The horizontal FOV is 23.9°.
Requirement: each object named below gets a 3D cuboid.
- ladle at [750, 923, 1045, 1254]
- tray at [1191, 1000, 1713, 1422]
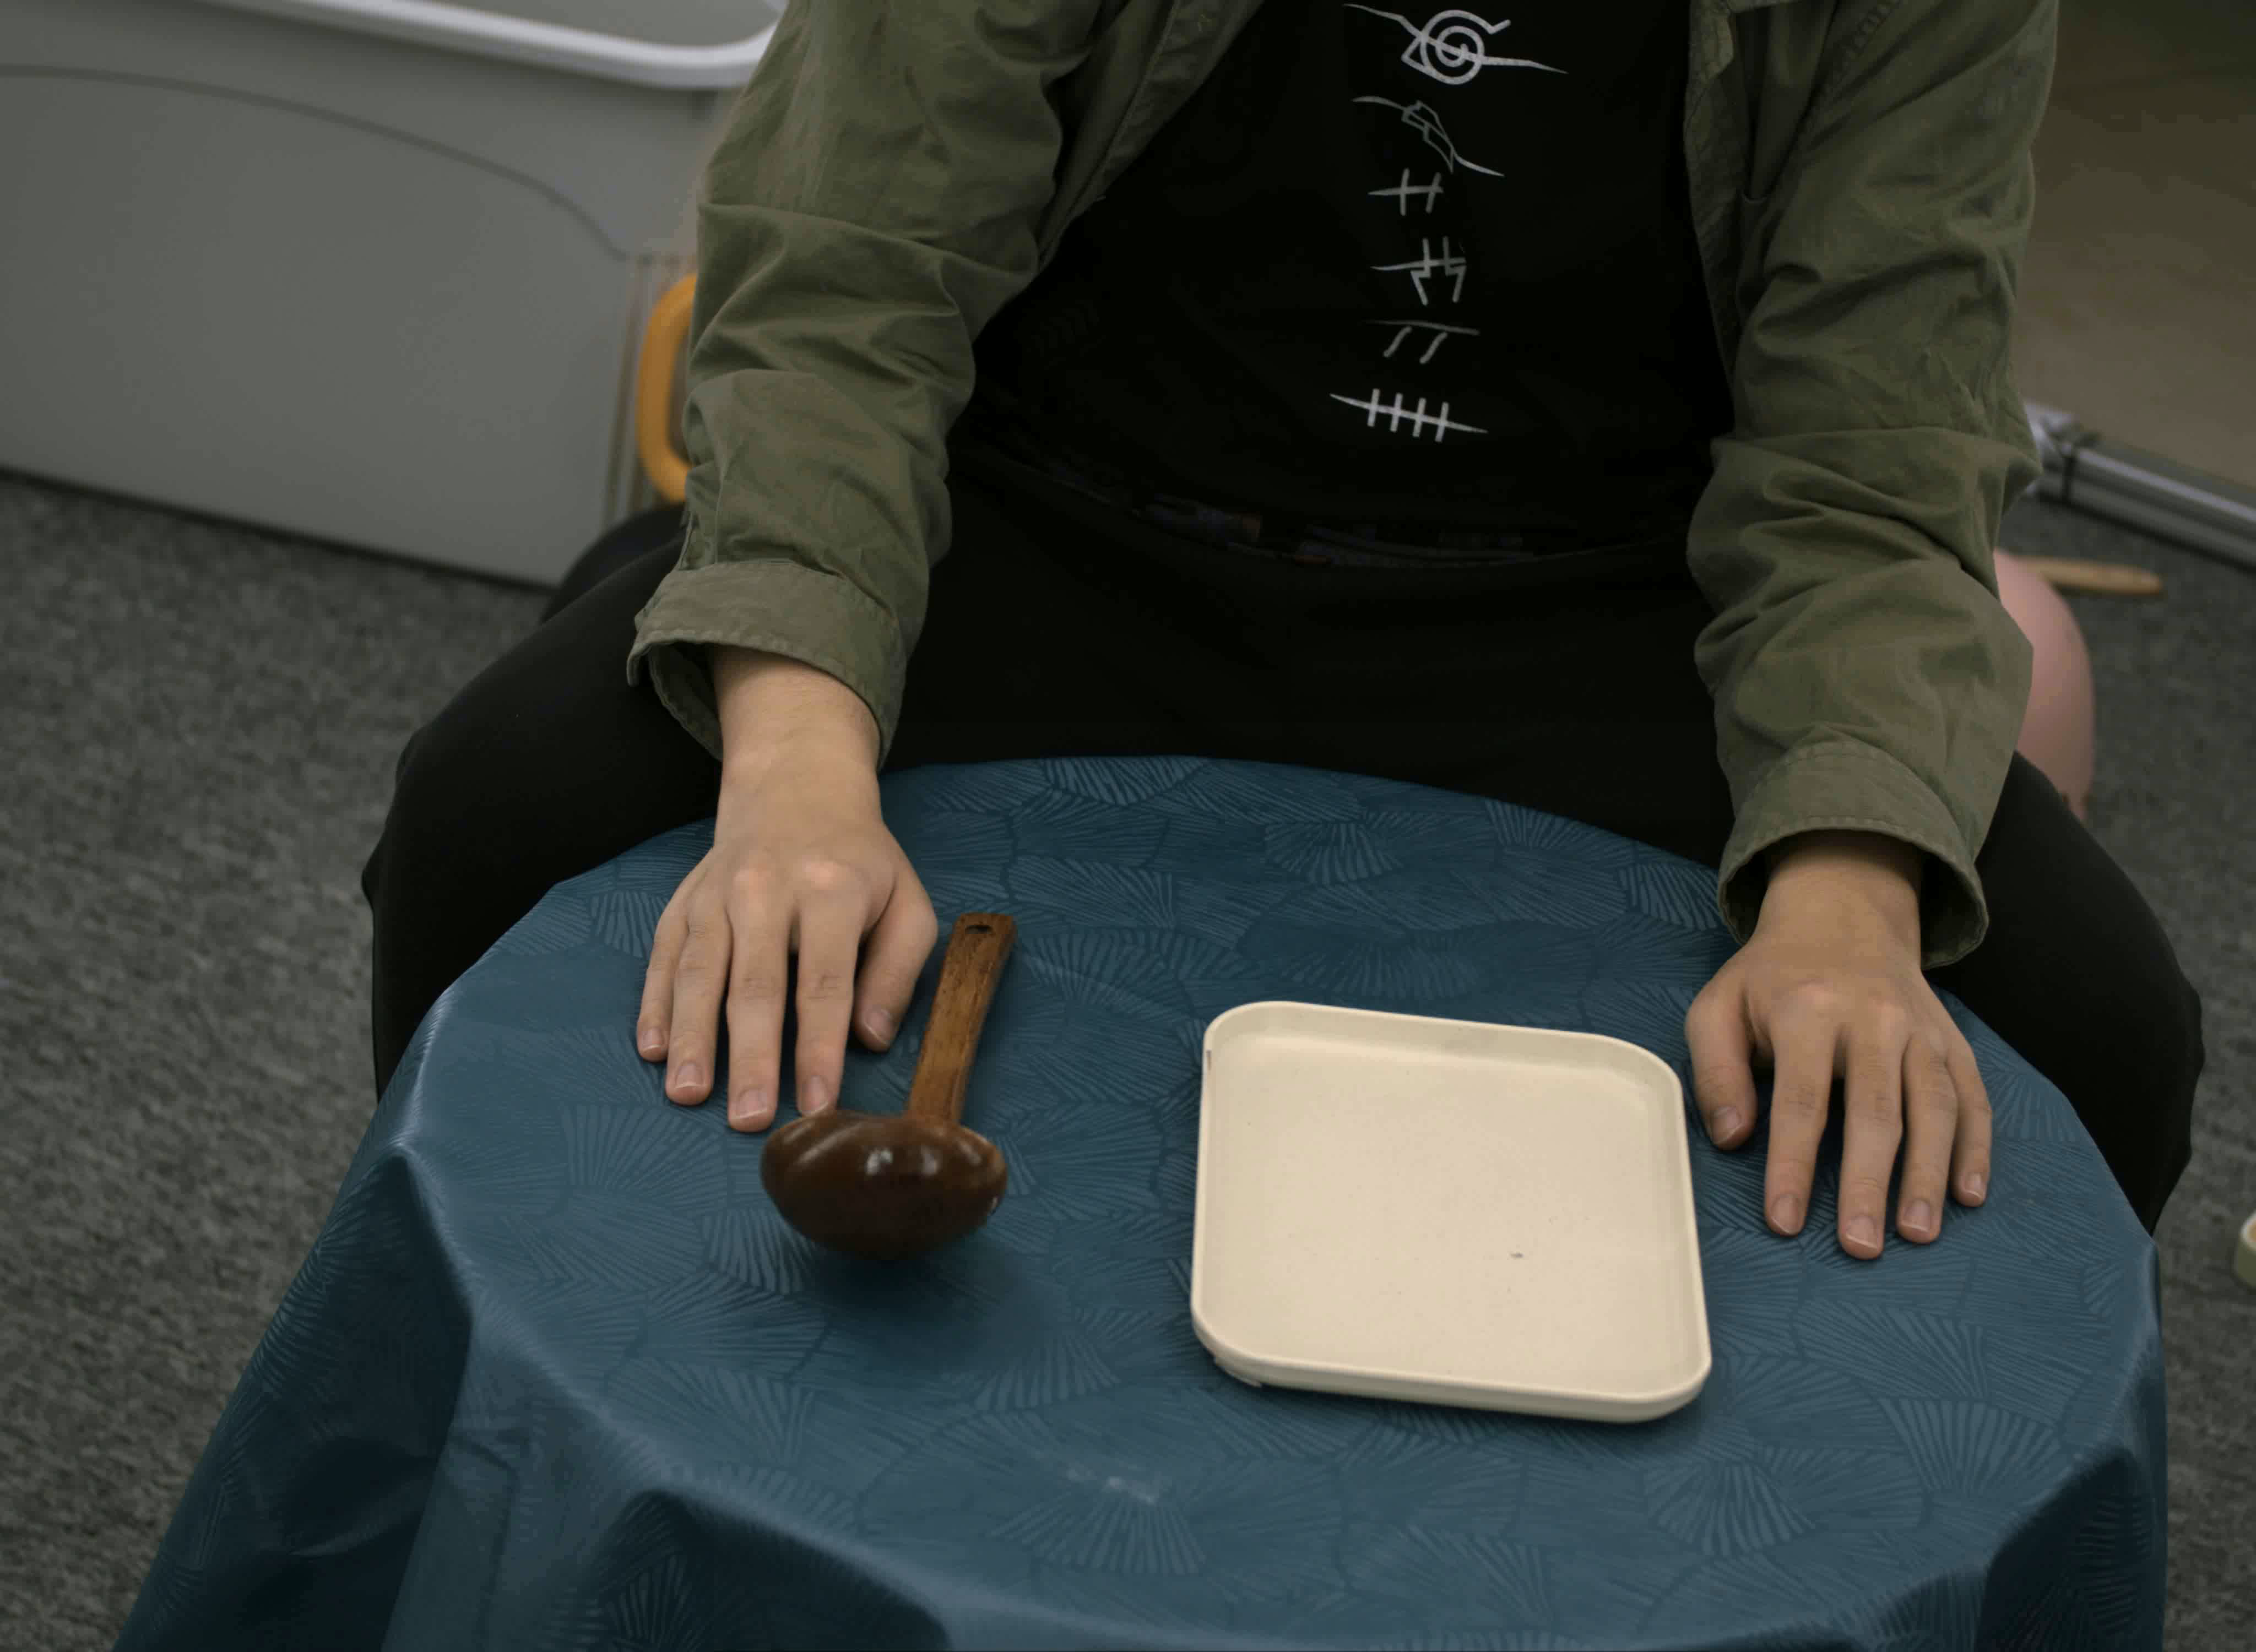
[{"bbox_3d":[-0.066,0.068,1.812,0.082,0.076,0.275,5,26,7],"label":"ladle"},{"bbox_3d":[0.106,0.128,1.793,0.171,0.017,0.241,7,26,0],"label":"tray"}]
